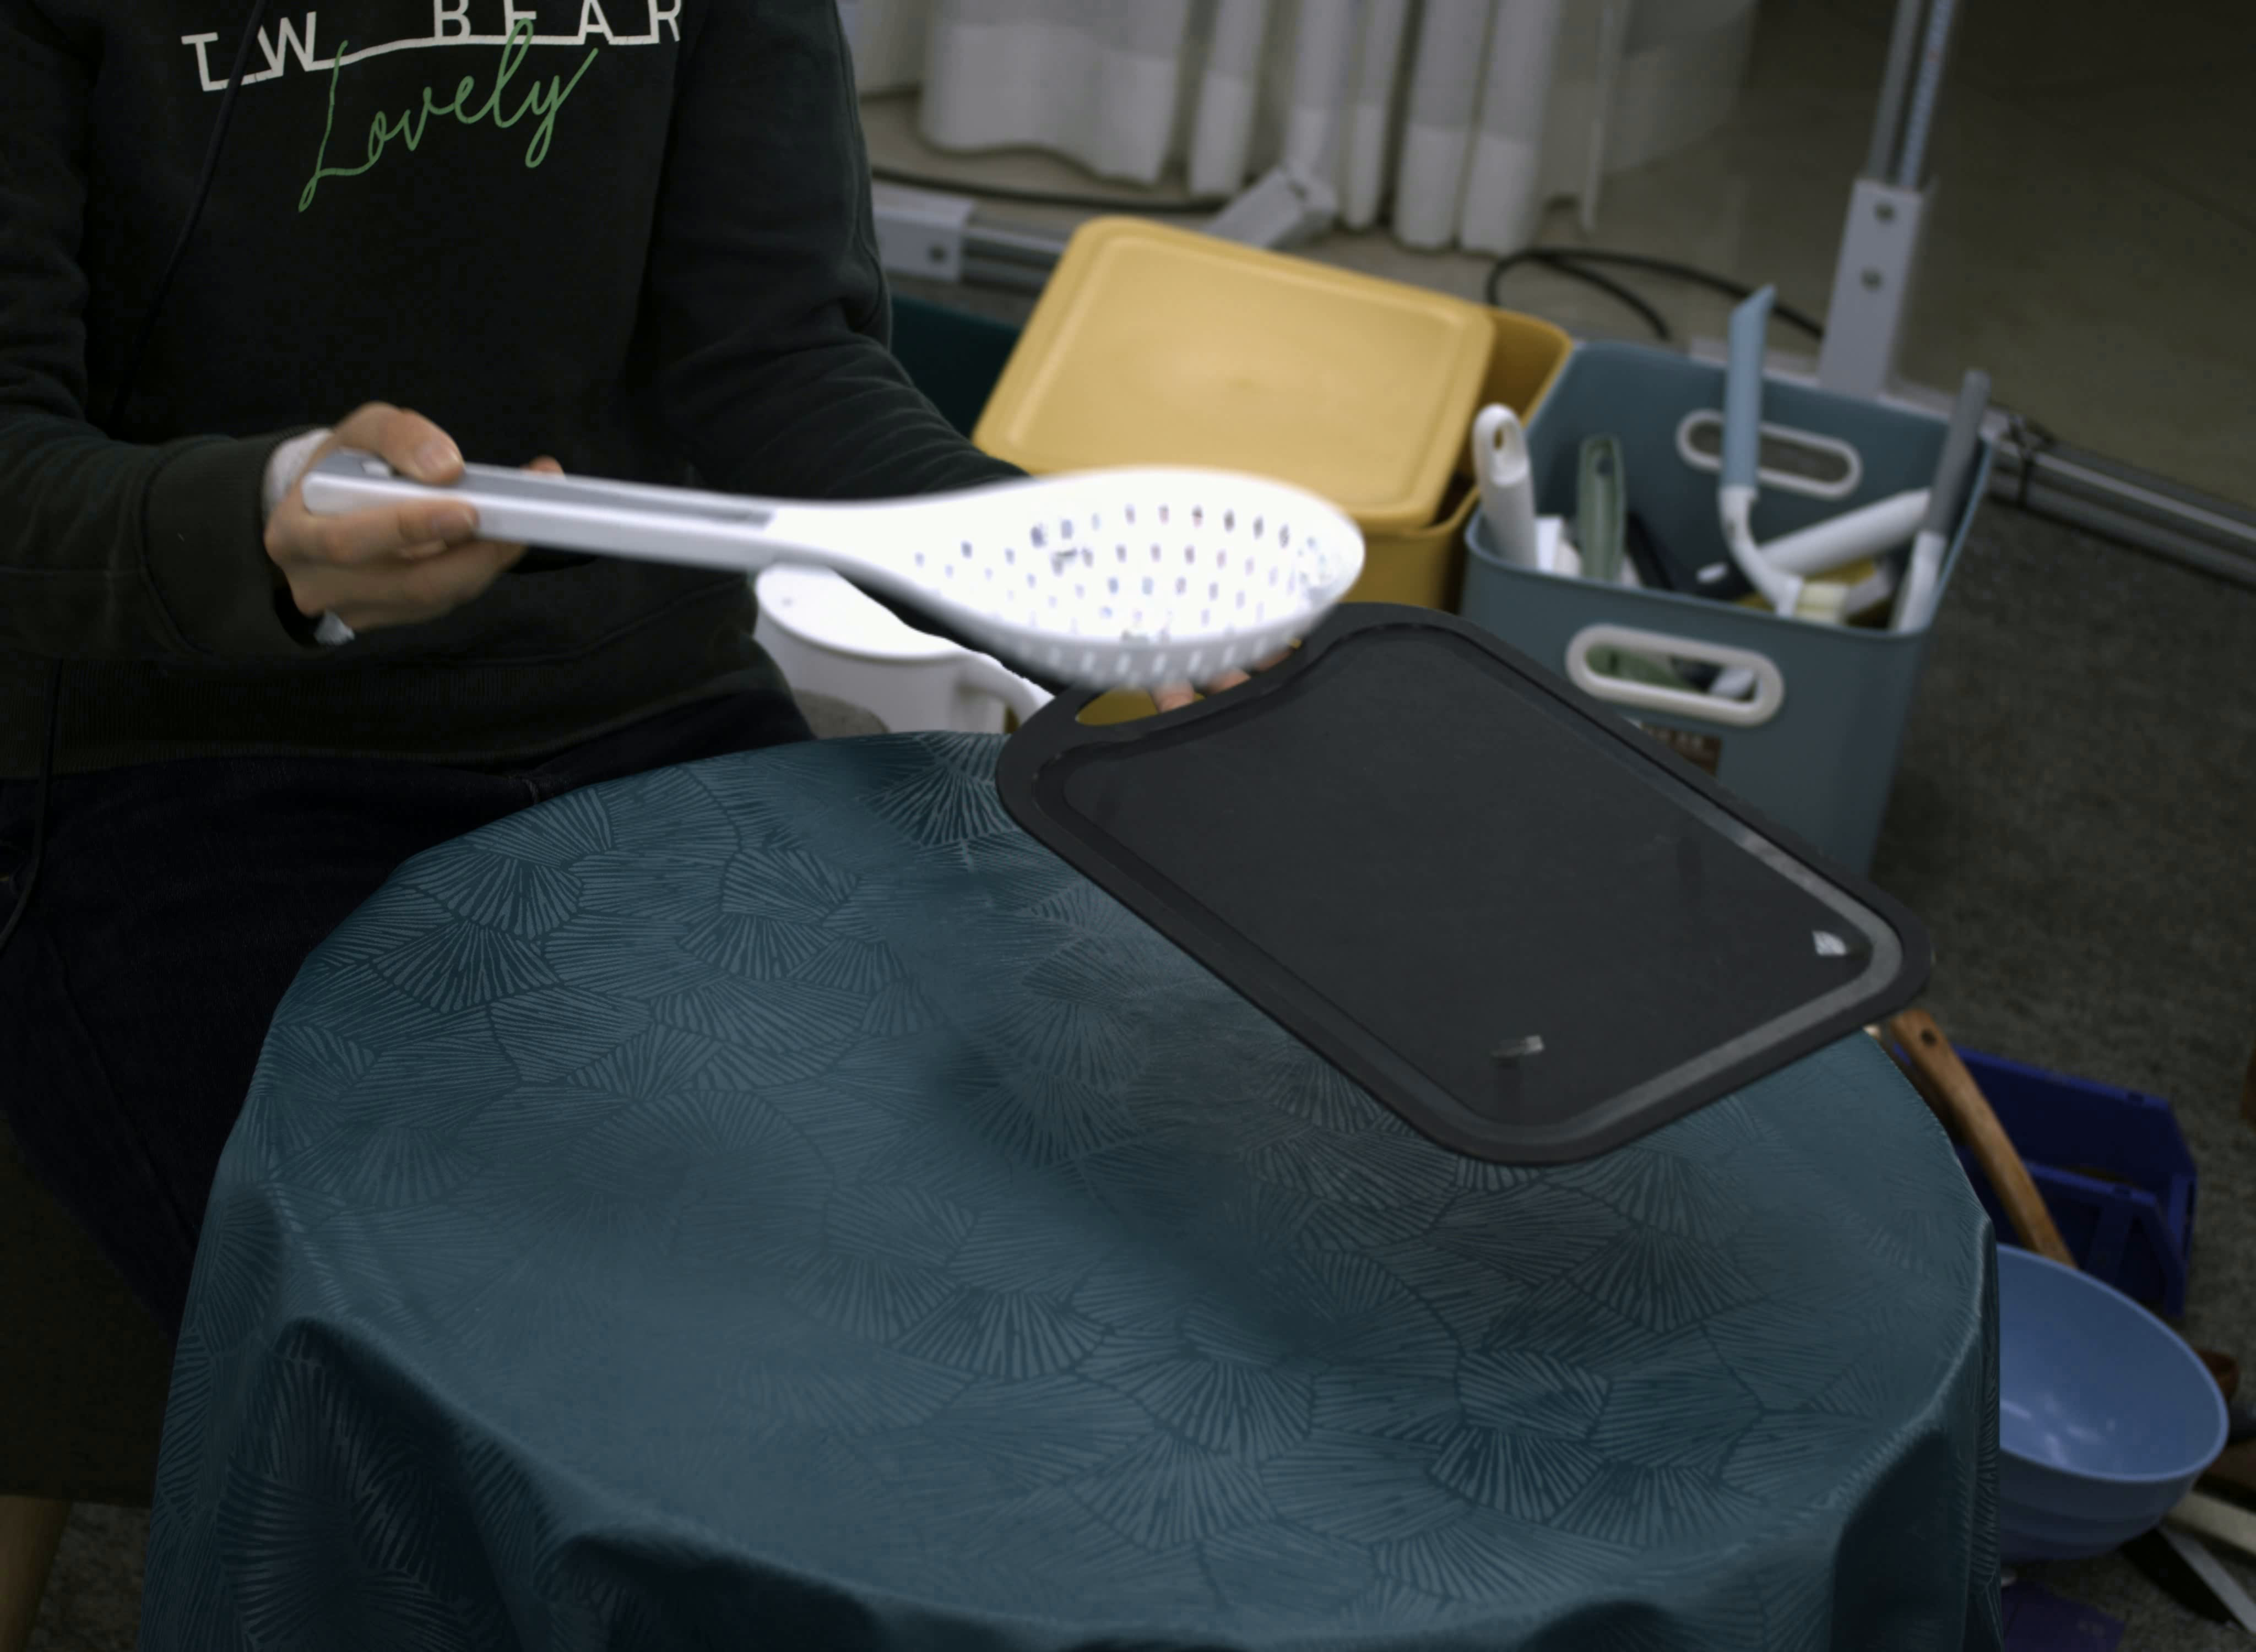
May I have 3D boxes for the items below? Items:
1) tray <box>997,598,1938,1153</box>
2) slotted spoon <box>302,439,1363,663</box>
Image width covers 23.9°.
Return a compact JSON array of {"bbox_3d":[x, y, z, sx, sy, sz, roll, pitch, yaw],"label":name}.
[{"bbox_3d":[0.105,0.006,1.810,0.210,0.010,0.328,-22,39,-29],"label":"tray"},{"bbox_3d":[-0.098,-0.097,1.684,0.350,0.045,0.136,10,26,14],"label":"slotted spoon"}]
